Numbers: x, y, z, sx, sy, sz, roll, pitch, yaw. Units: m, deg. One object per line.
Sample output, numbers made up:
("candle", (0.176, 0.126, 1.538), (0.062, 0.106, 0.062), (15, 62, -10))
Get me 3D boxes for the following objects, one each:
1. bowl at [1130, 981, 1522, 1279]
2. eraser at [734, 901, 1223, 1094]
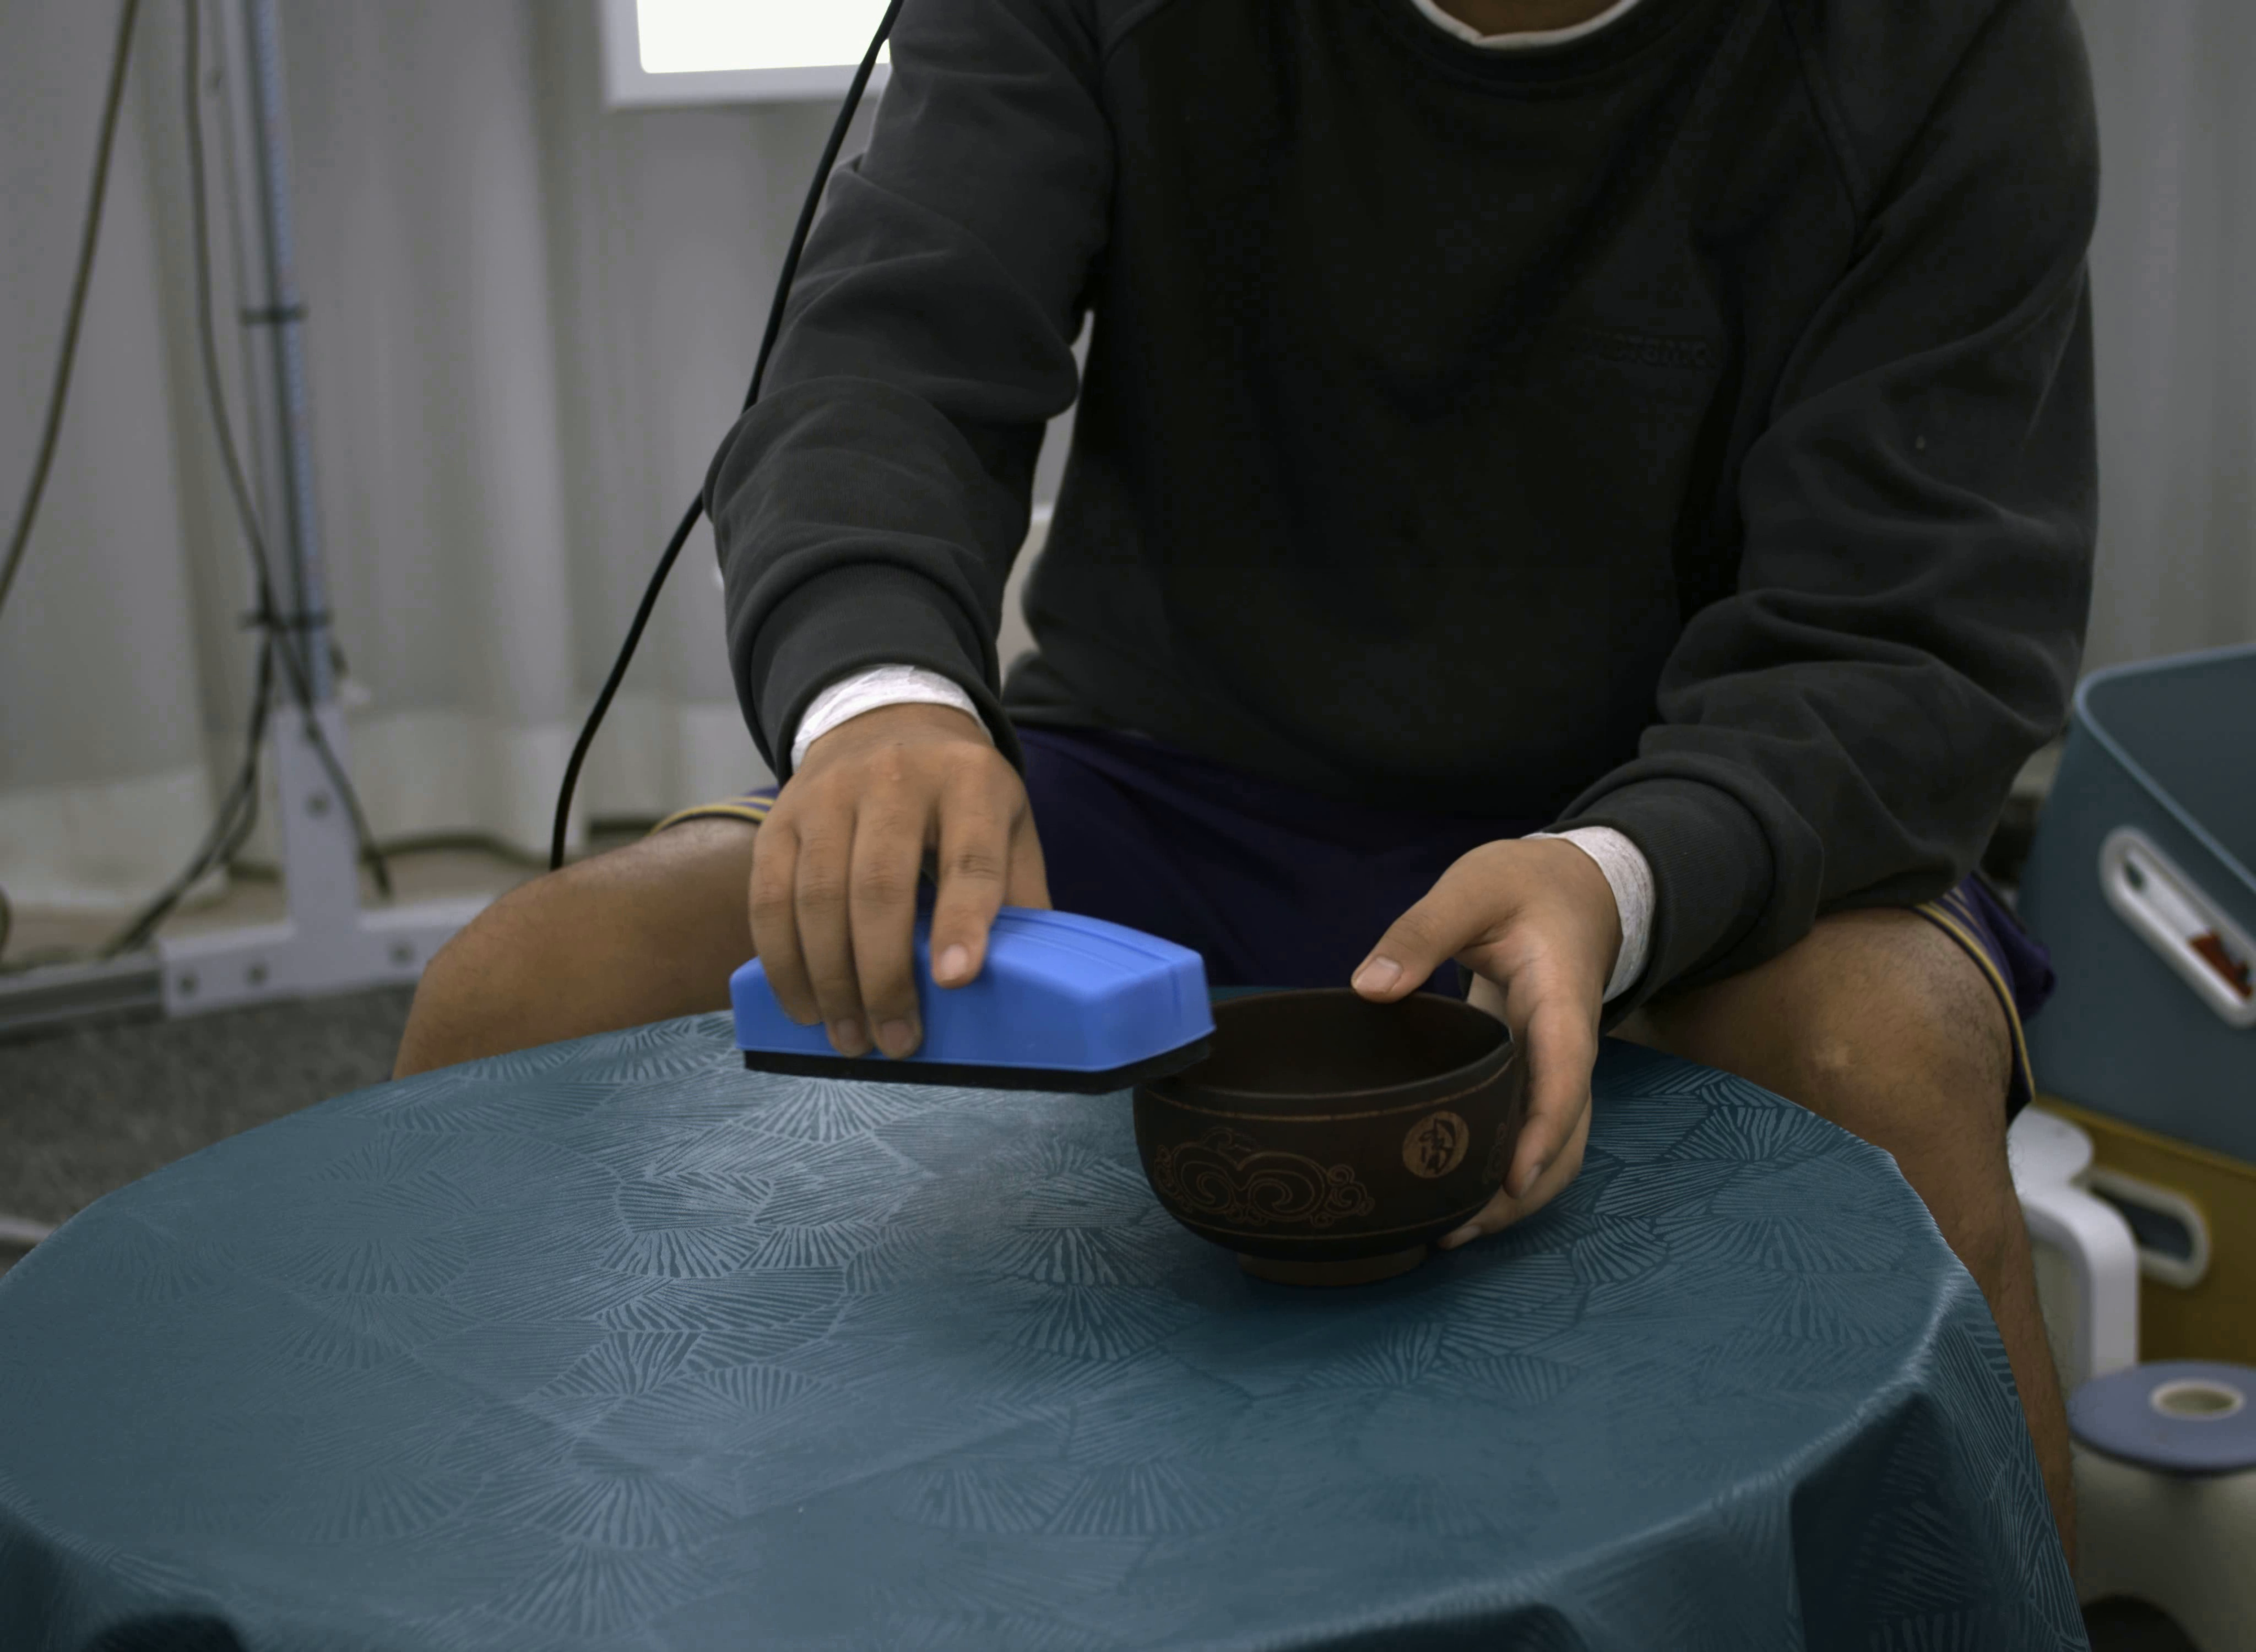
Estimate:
("bowl", (0.060, 0.094, 1.636), (0.117, 0.069, 0.119), (-3, 13, 0))
("eraser", (-0.048, 0.049, 1.641), (0.162, 0.047, 0.054), (1, 16, 41))
